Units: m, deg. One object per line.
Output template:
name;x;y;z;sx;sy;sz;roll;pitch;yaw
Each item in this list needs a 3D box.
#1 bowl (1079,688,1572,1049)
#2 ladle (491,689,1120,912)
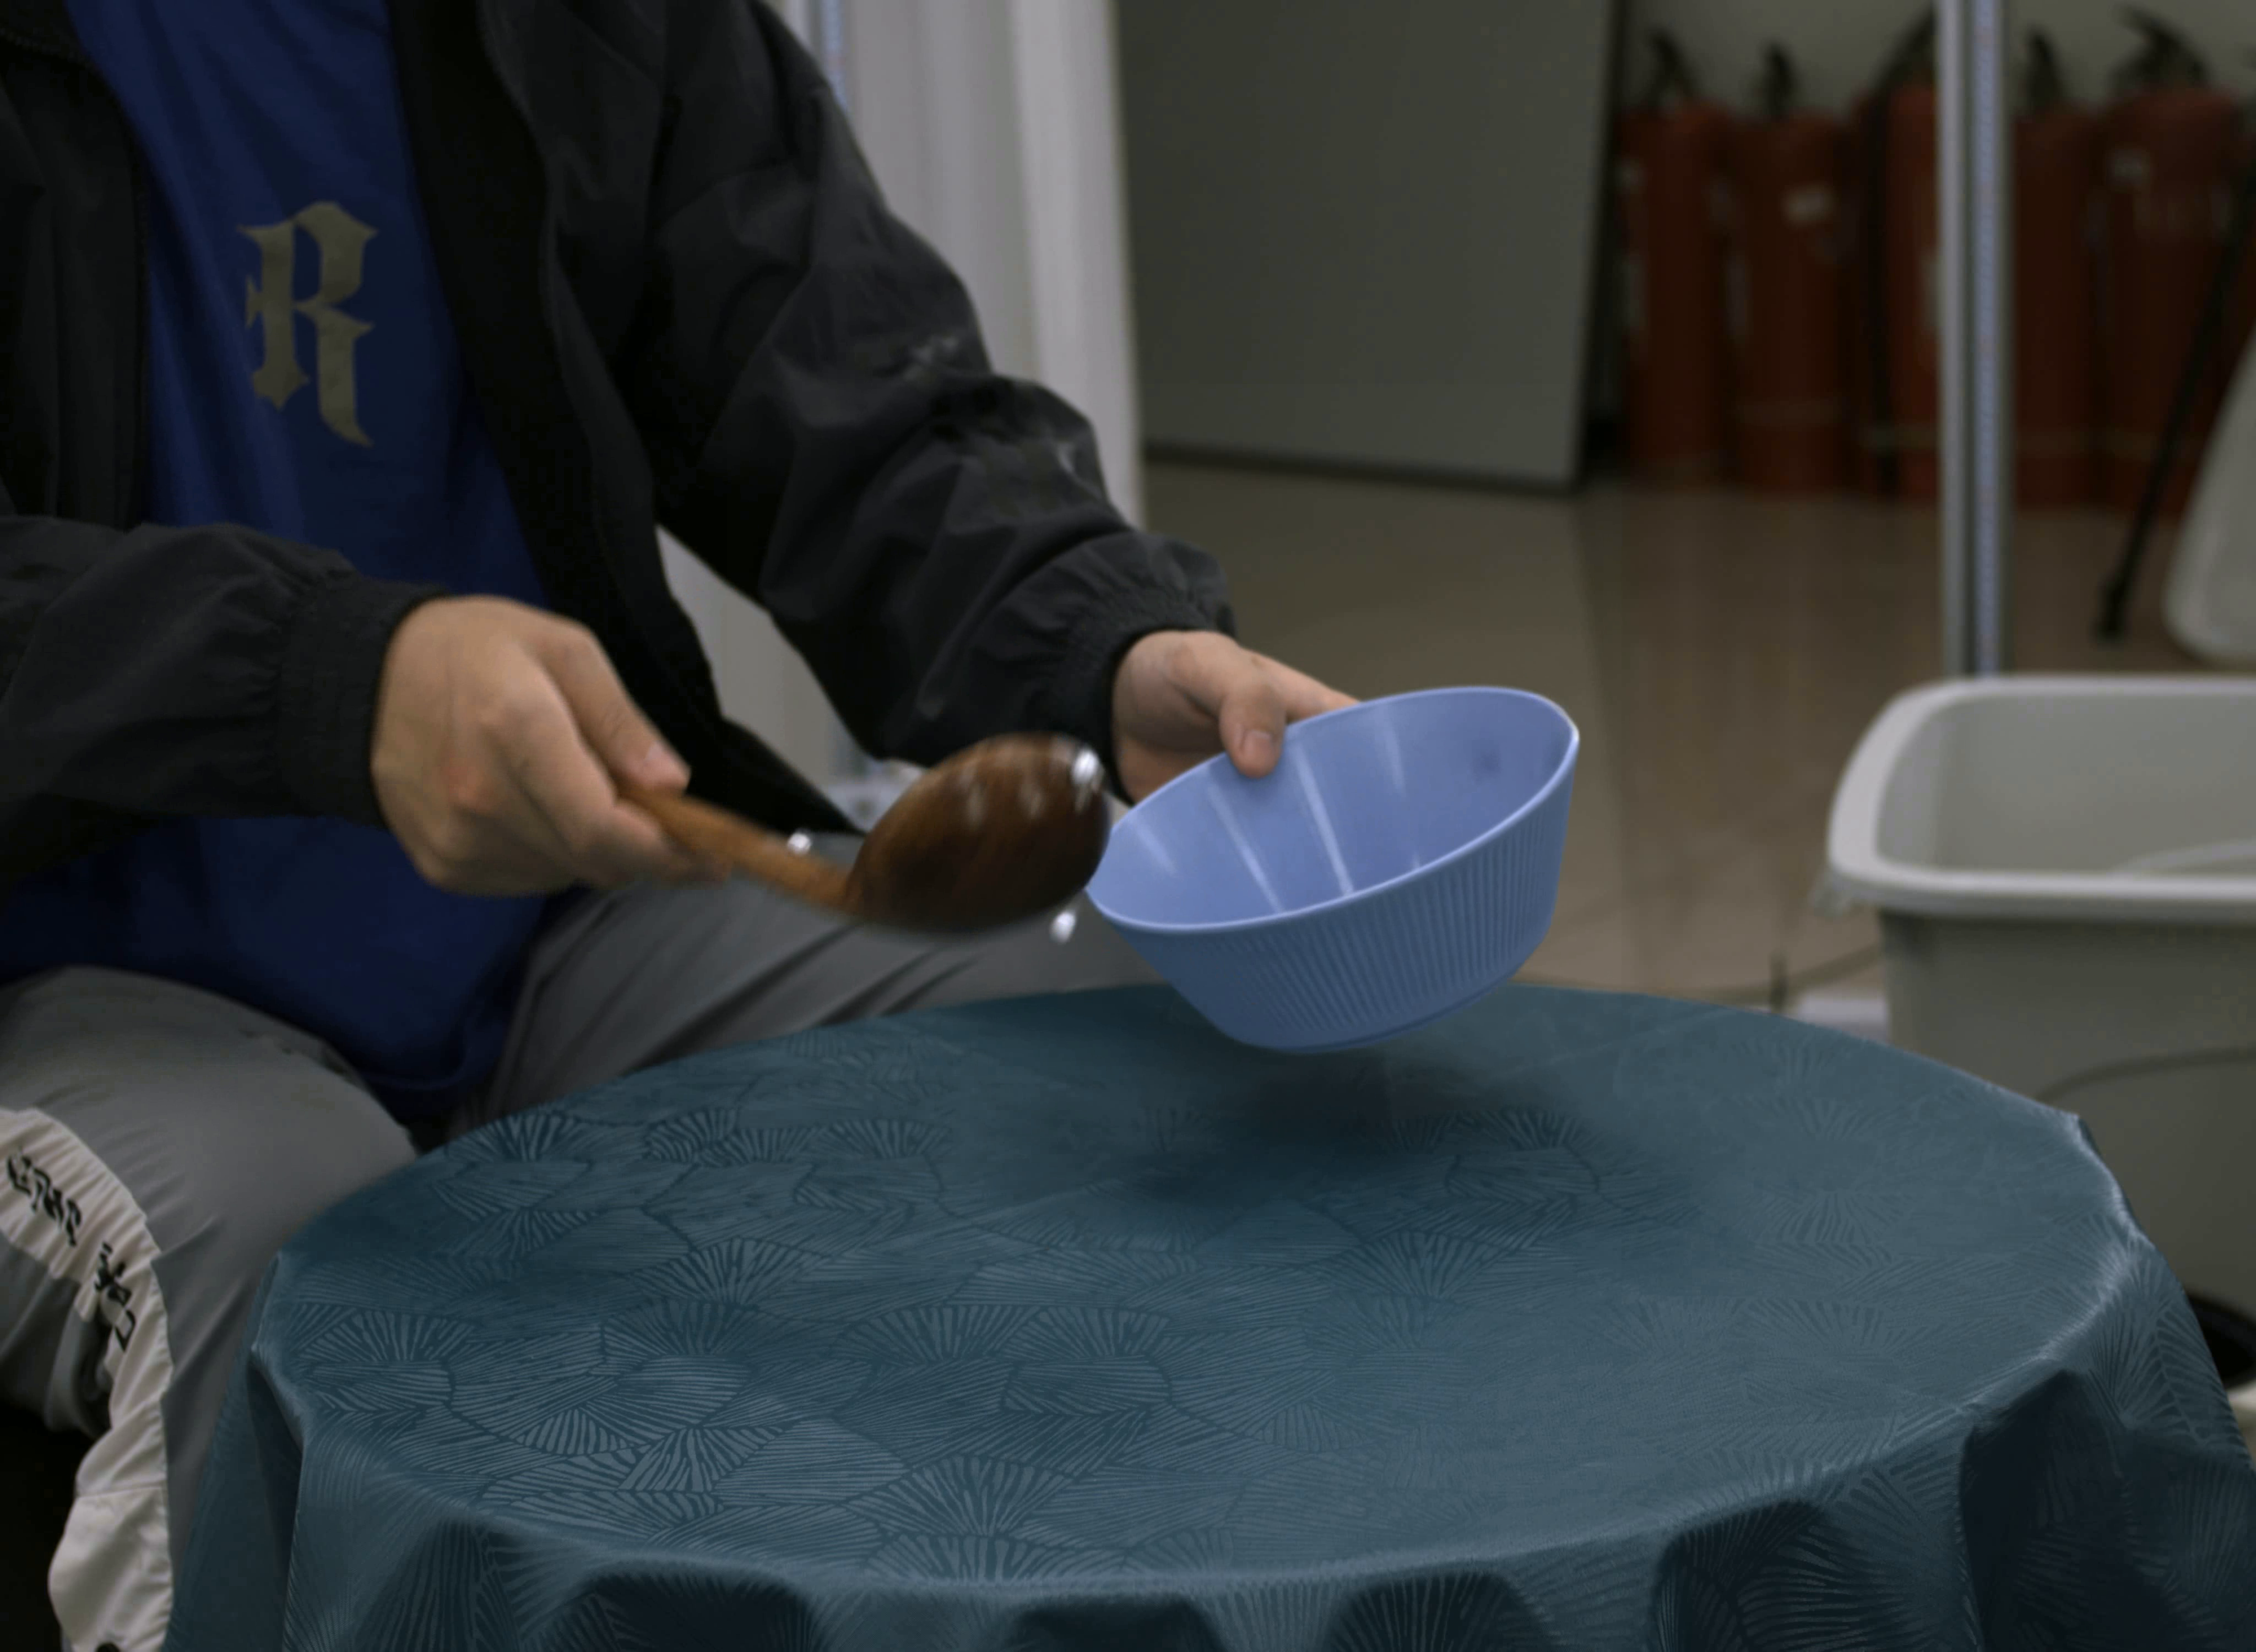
bowl;0.075;0.020;1.816;0.175;0.070;0.176;-19;19;5
ladle;-0.111;-0.026;1.728;0.080;0.077;0.277;24;-5;-42
